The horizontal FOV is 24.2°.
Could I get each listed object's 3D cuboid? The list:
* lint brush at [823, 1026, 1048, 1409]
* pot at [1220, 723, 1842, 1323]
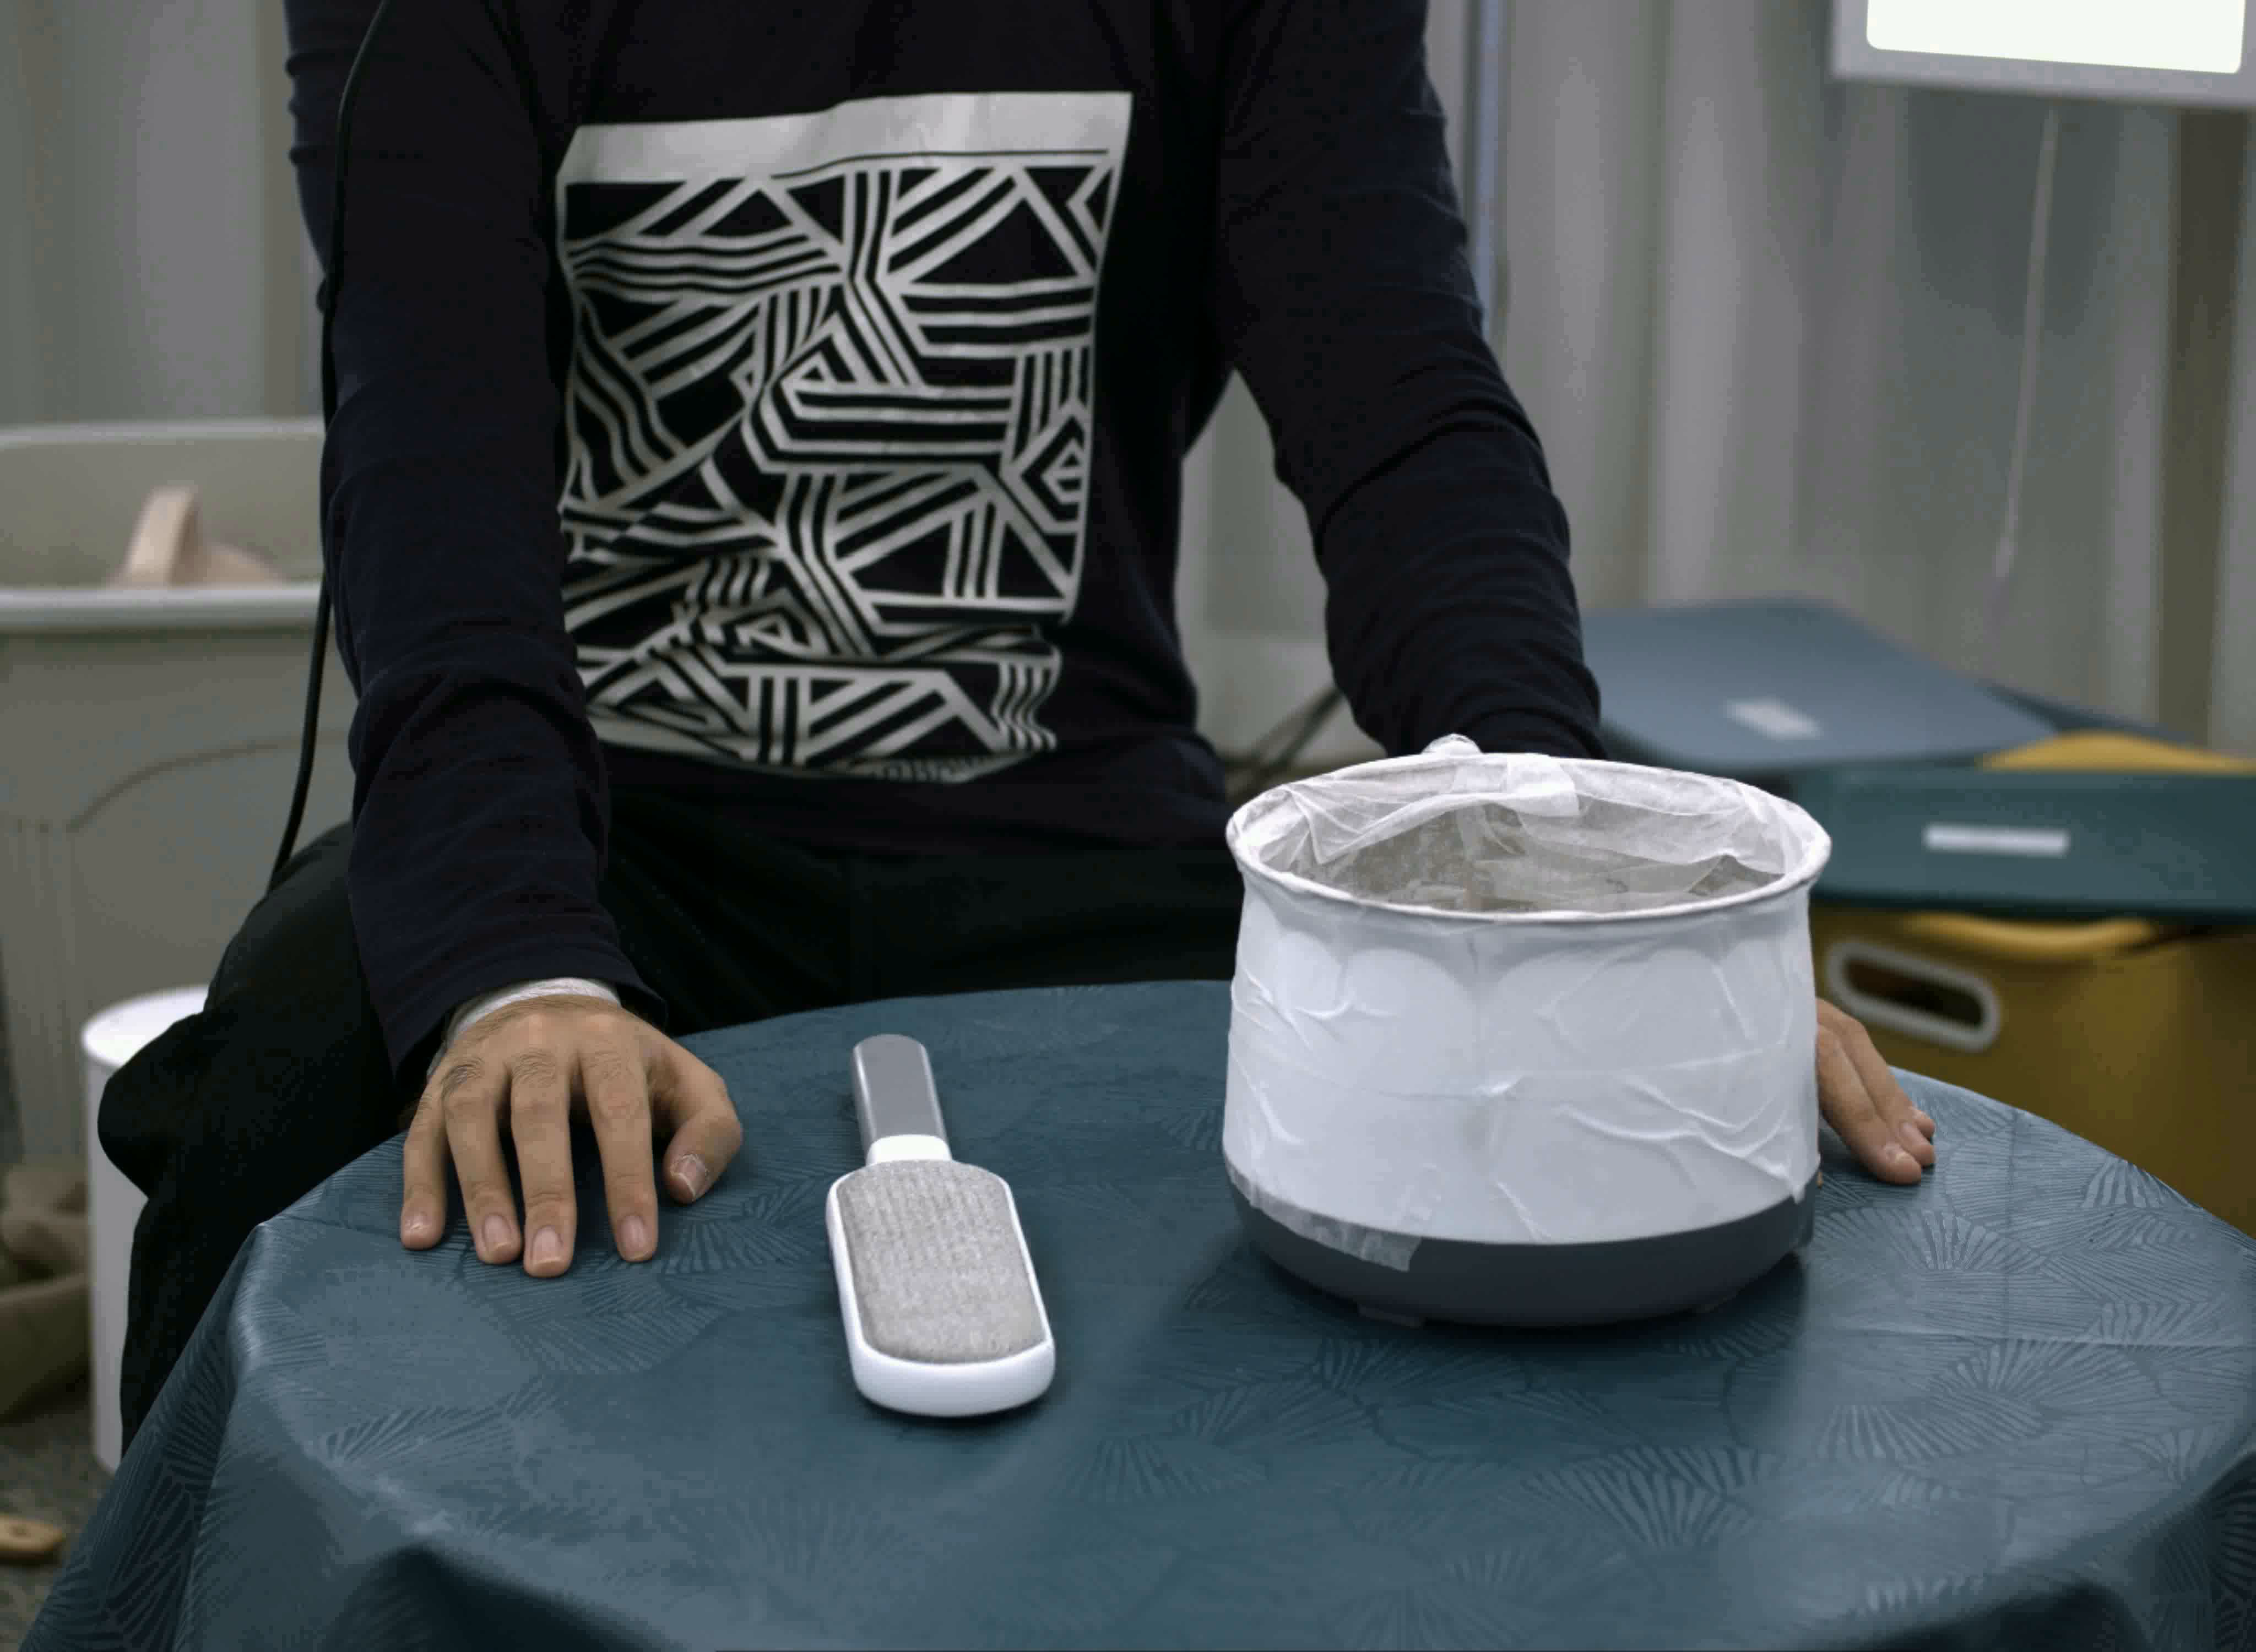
[{"bbox_3d":[-0.061,0.112,1.573,0.060,0.021,0.306,-7,16,-4],"label":"lint brush"},{"bbox_3d":[0.112,0.053,1.577,0.179,0.137,0.231,0,16,-11],"label":"pot"}]
